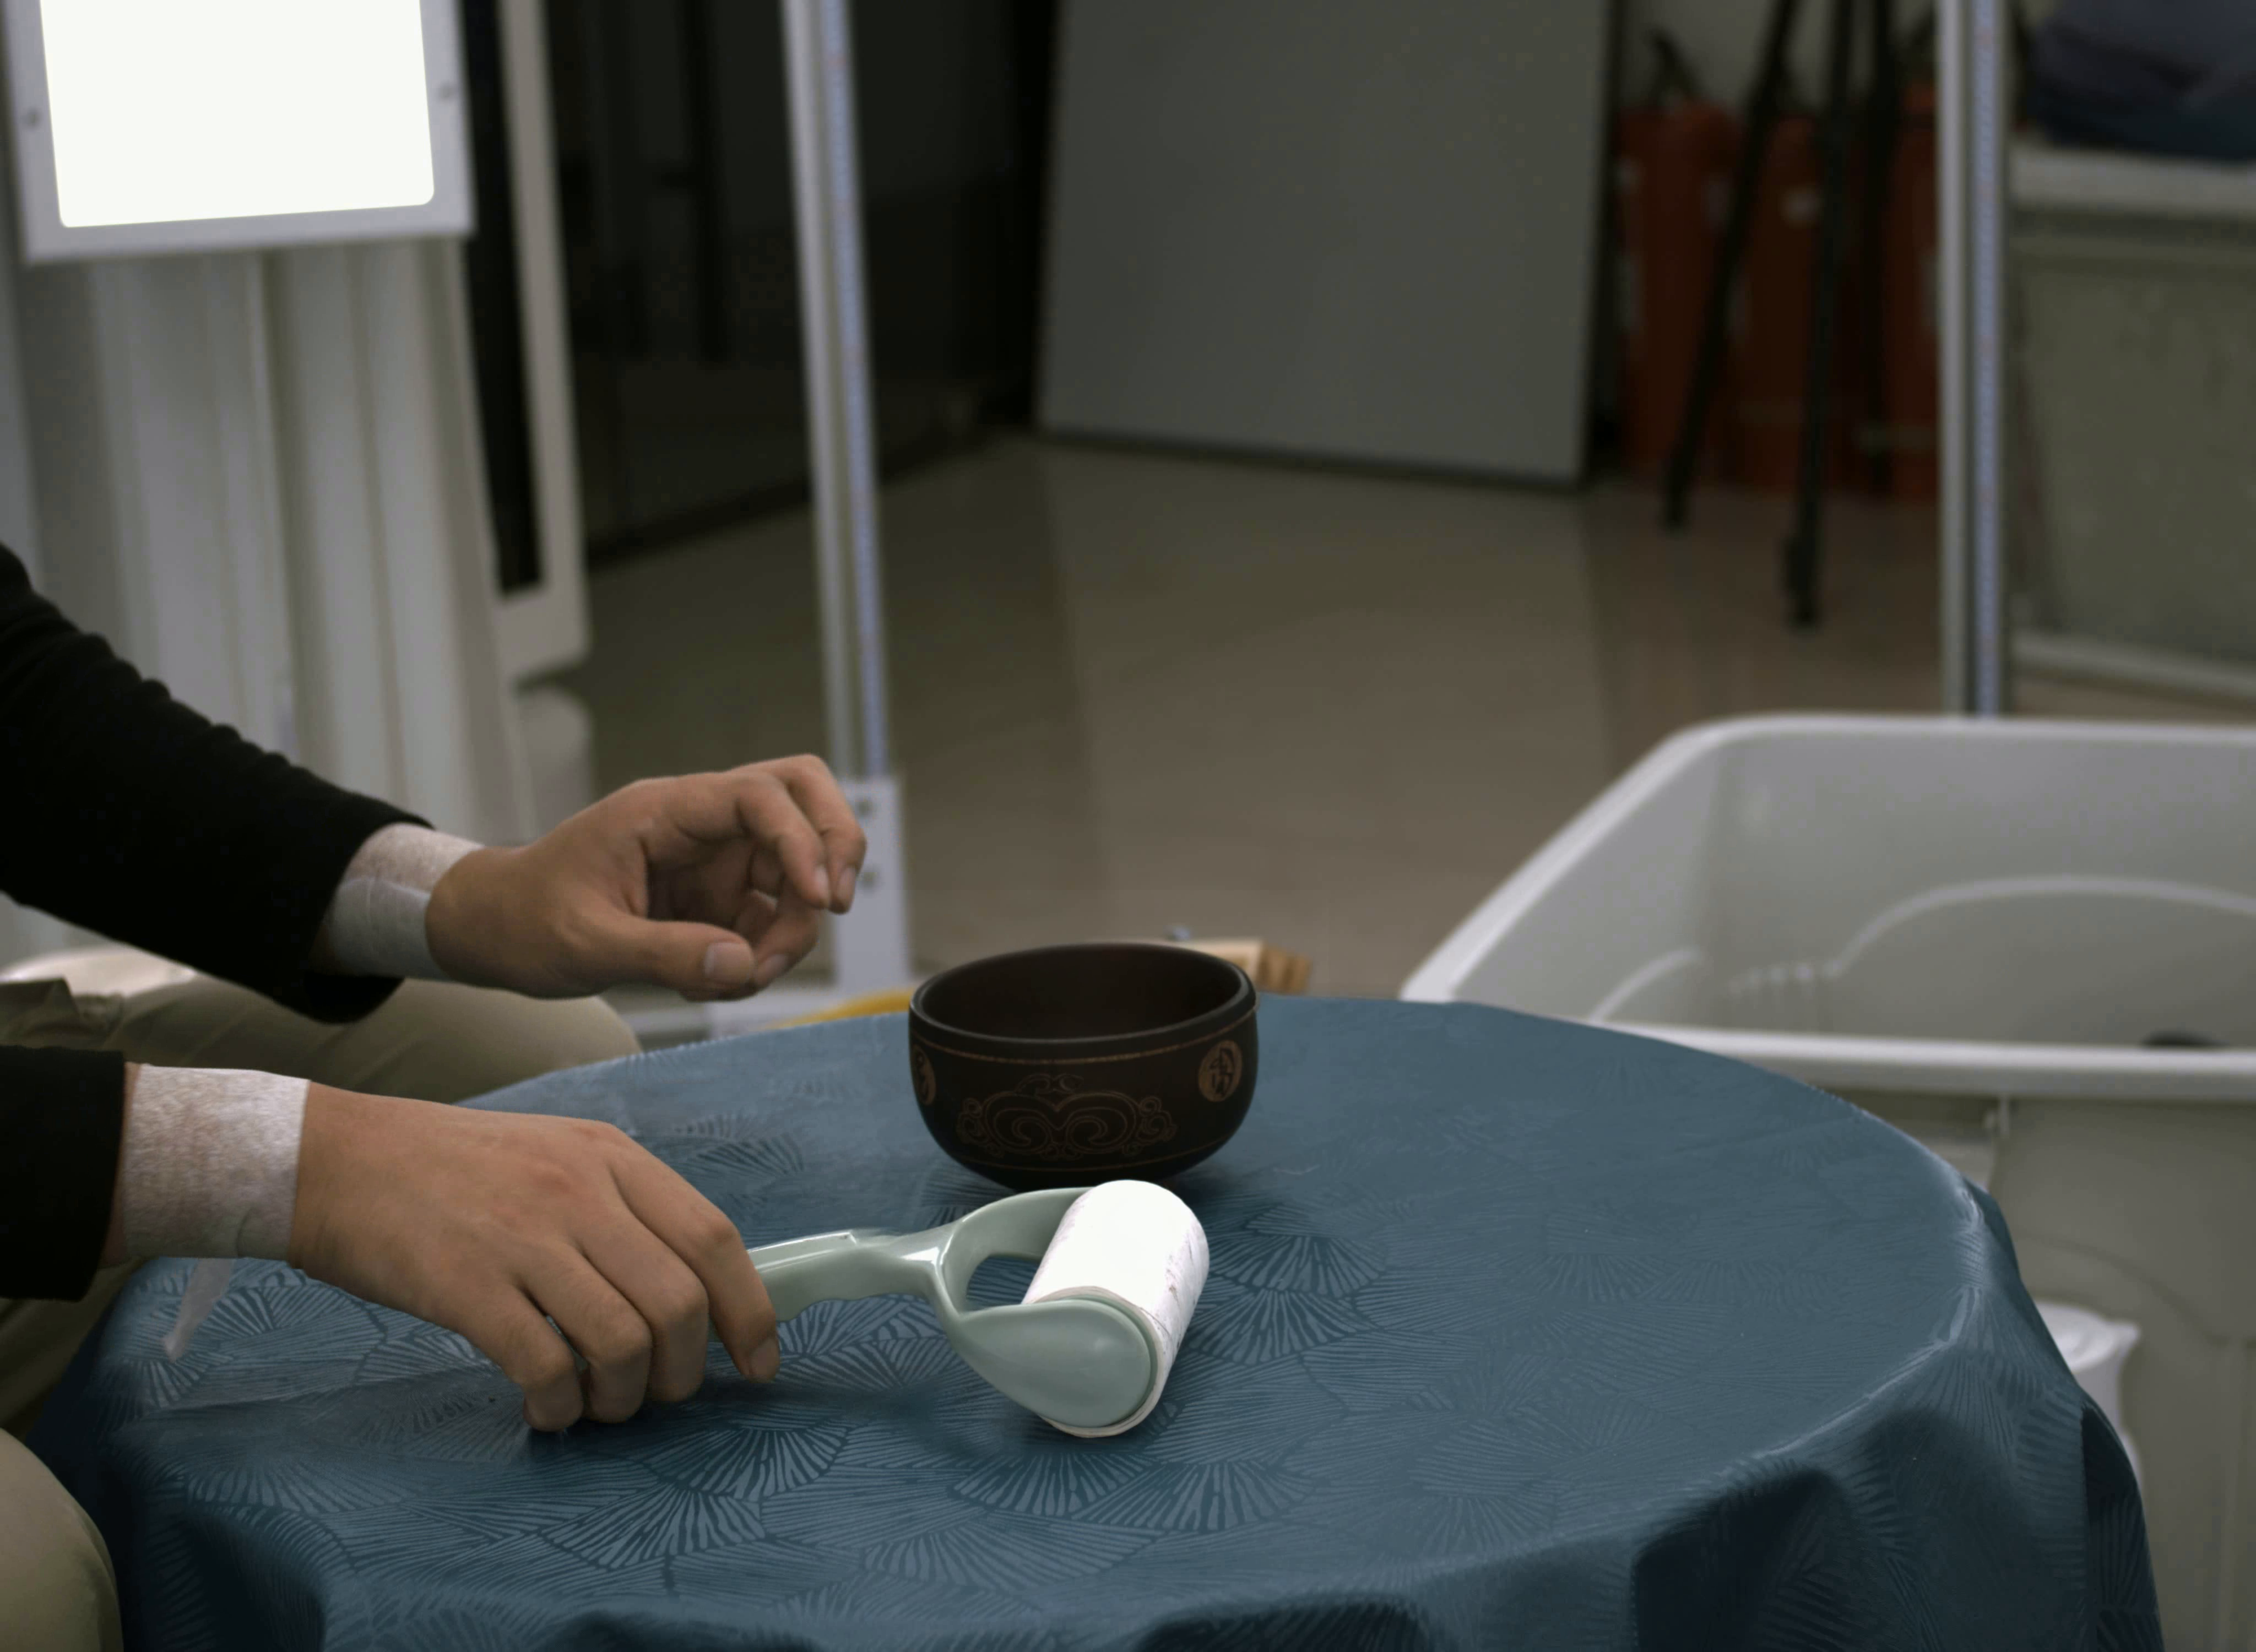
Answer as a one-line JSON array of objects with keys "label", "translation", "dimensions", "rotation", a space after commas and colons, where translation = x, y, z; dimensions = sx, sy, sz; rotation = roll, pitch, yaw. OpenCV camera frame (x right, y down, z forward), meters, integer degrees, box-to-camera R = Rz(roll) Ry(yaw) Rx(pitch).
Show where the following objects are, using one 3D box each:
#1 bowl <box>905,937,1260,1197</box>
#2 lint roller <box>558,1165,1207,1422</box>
[{"label": "bowl", "translation": [-0.013, 0.085, 1.768], "dimensions": [0.116, 0.070, 0.118], "rotation": [-5, 14, 0]}, {"label": "lint roller", "translation": [-0.075, 0.143, 1.611], "dimensions": [0.196, 0.049, 0.116], "rotation": [-3, 15, 10]}]
